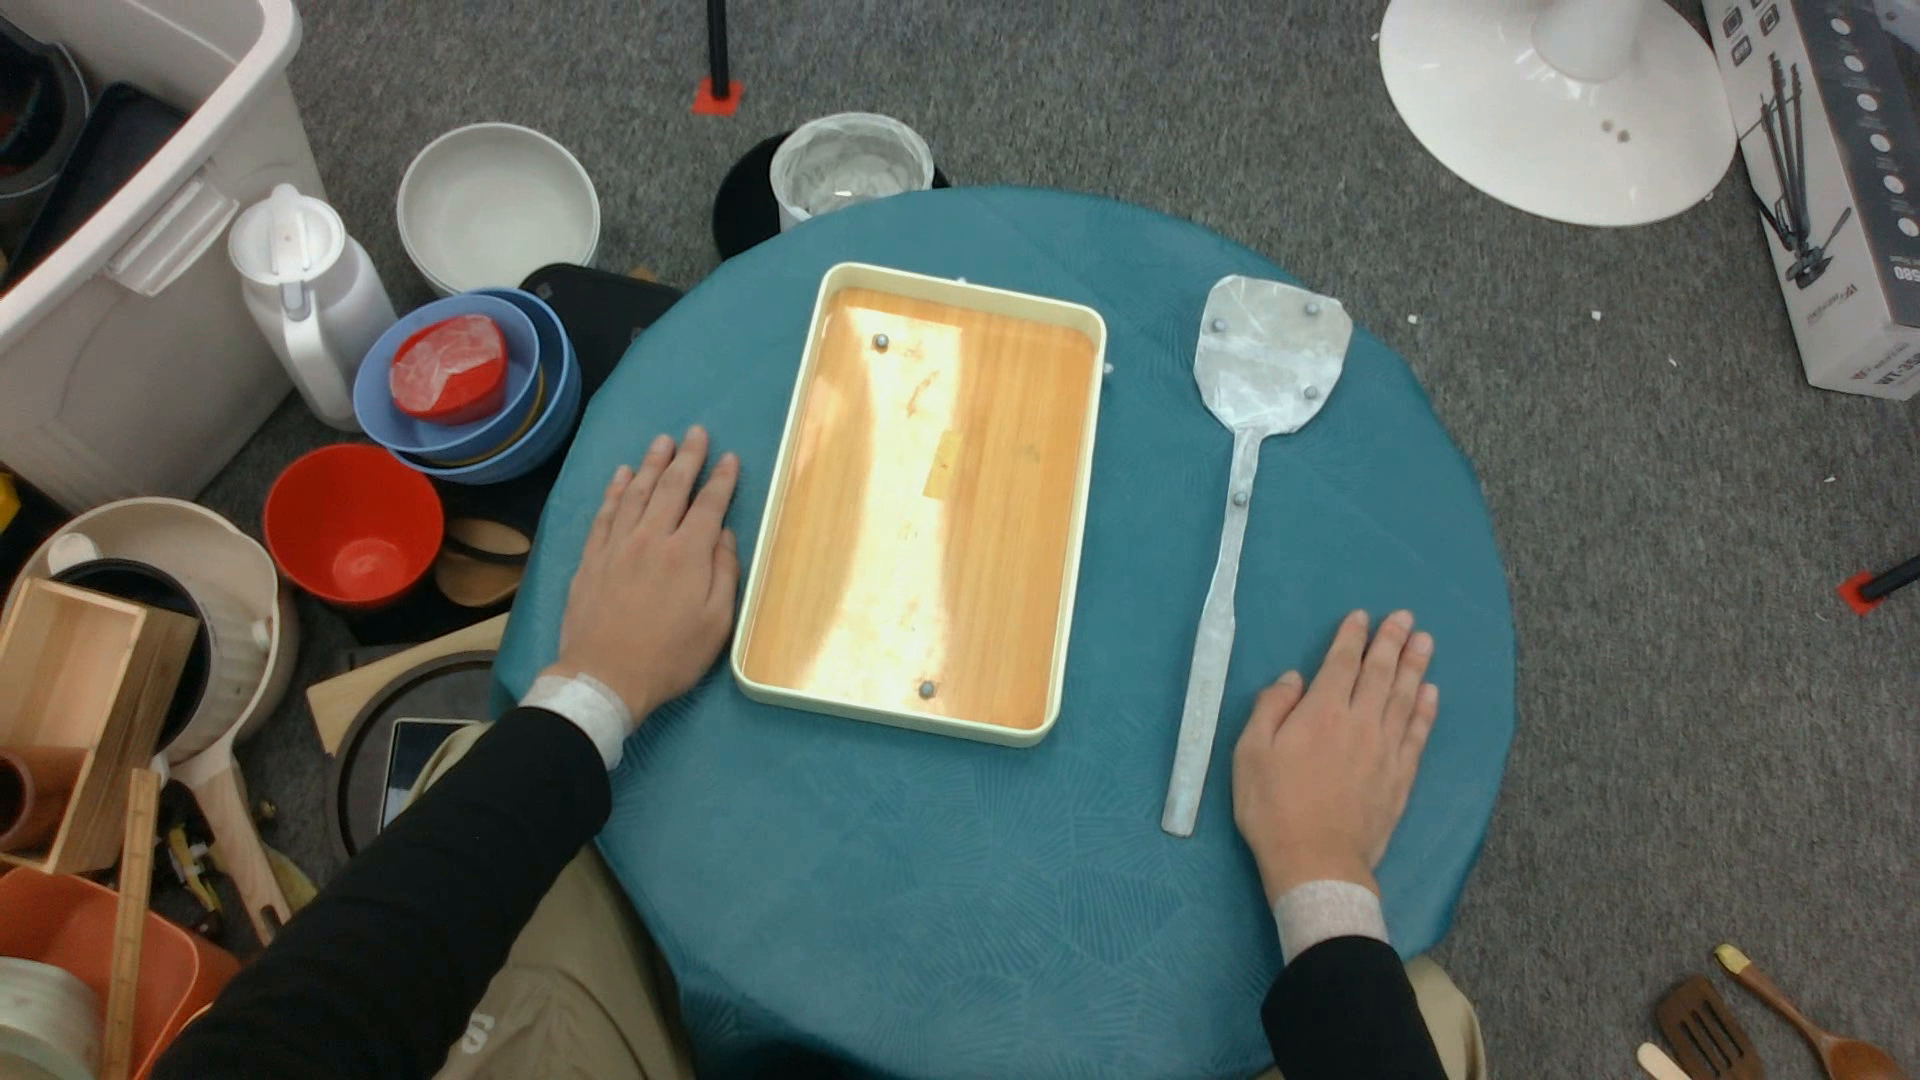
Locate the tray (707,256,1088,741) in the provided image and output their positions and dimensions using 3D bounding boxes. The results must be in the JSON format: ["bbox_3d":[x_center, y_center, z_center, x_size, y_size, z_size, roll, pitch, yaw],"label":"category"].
[{"bbox_3d":[-0.031,-0.035,0.846,0.191,0.027,0.301,11,63,-2],"label":"tray"}]

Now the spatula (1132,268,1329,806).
[{"bbox_3d":[0.156,-0.010,0.851,0.099,0.044,0.366,16,63,0],"label":"spatula"}]
